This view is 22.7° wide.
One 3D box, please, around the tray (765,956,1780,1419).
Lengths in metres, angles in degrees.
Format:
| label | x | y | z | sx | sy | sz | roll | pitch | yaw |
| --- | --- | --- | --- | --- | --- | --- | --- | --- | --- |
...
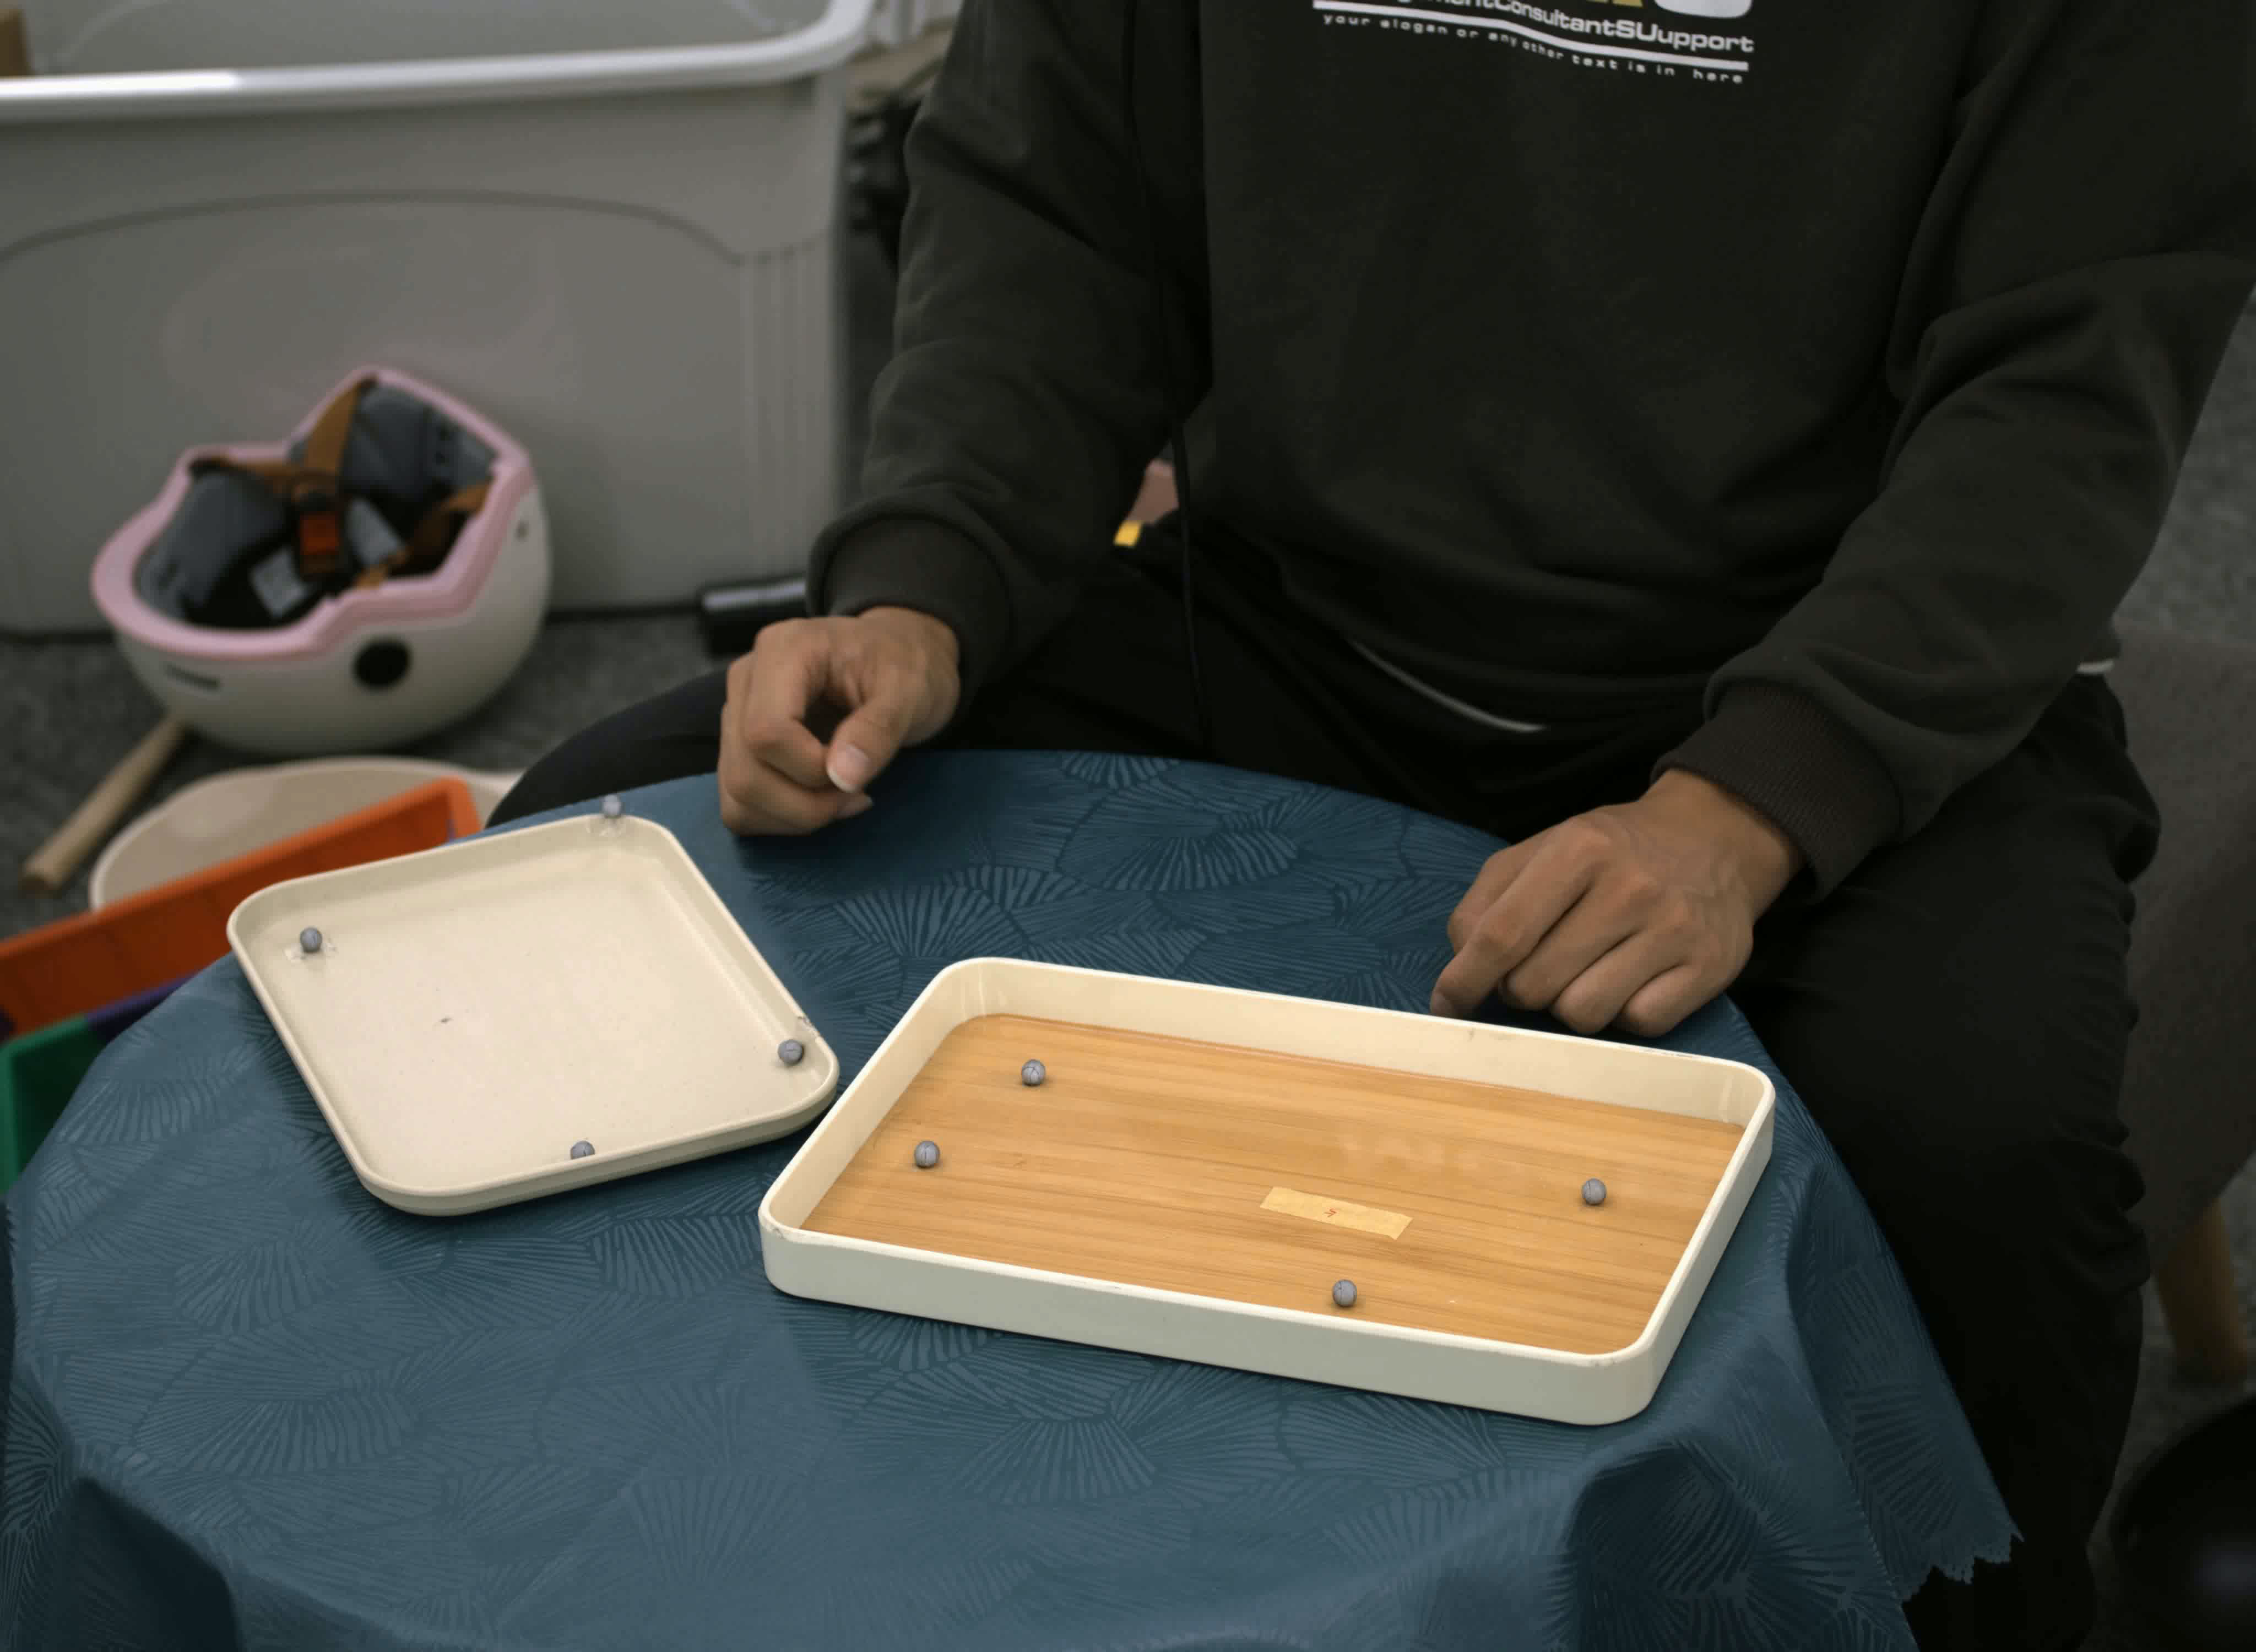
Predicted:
| label | x | y | z | sx | sy | sz | roll | pitch | yaw |
| --- | --- | --- | --- | --- | --- | --- | --- | --- | --- |
| tray | 0.049 | 0.115 | 1.845 | 0.298 | 0.027 | 0.195 | 8 | 29 | 18 |

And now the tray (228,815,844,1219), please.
| label | x | y | z | sx | sy | sz | roll | pitch | yaw |
| --- | --- | --- | --- | --- | --- | --- | --- | --- | --- |
| tray | -0.210 | 0.066 | 1.971 | 0.172 | 0.017 | 0.241 | -13 | 29 | -19 |
